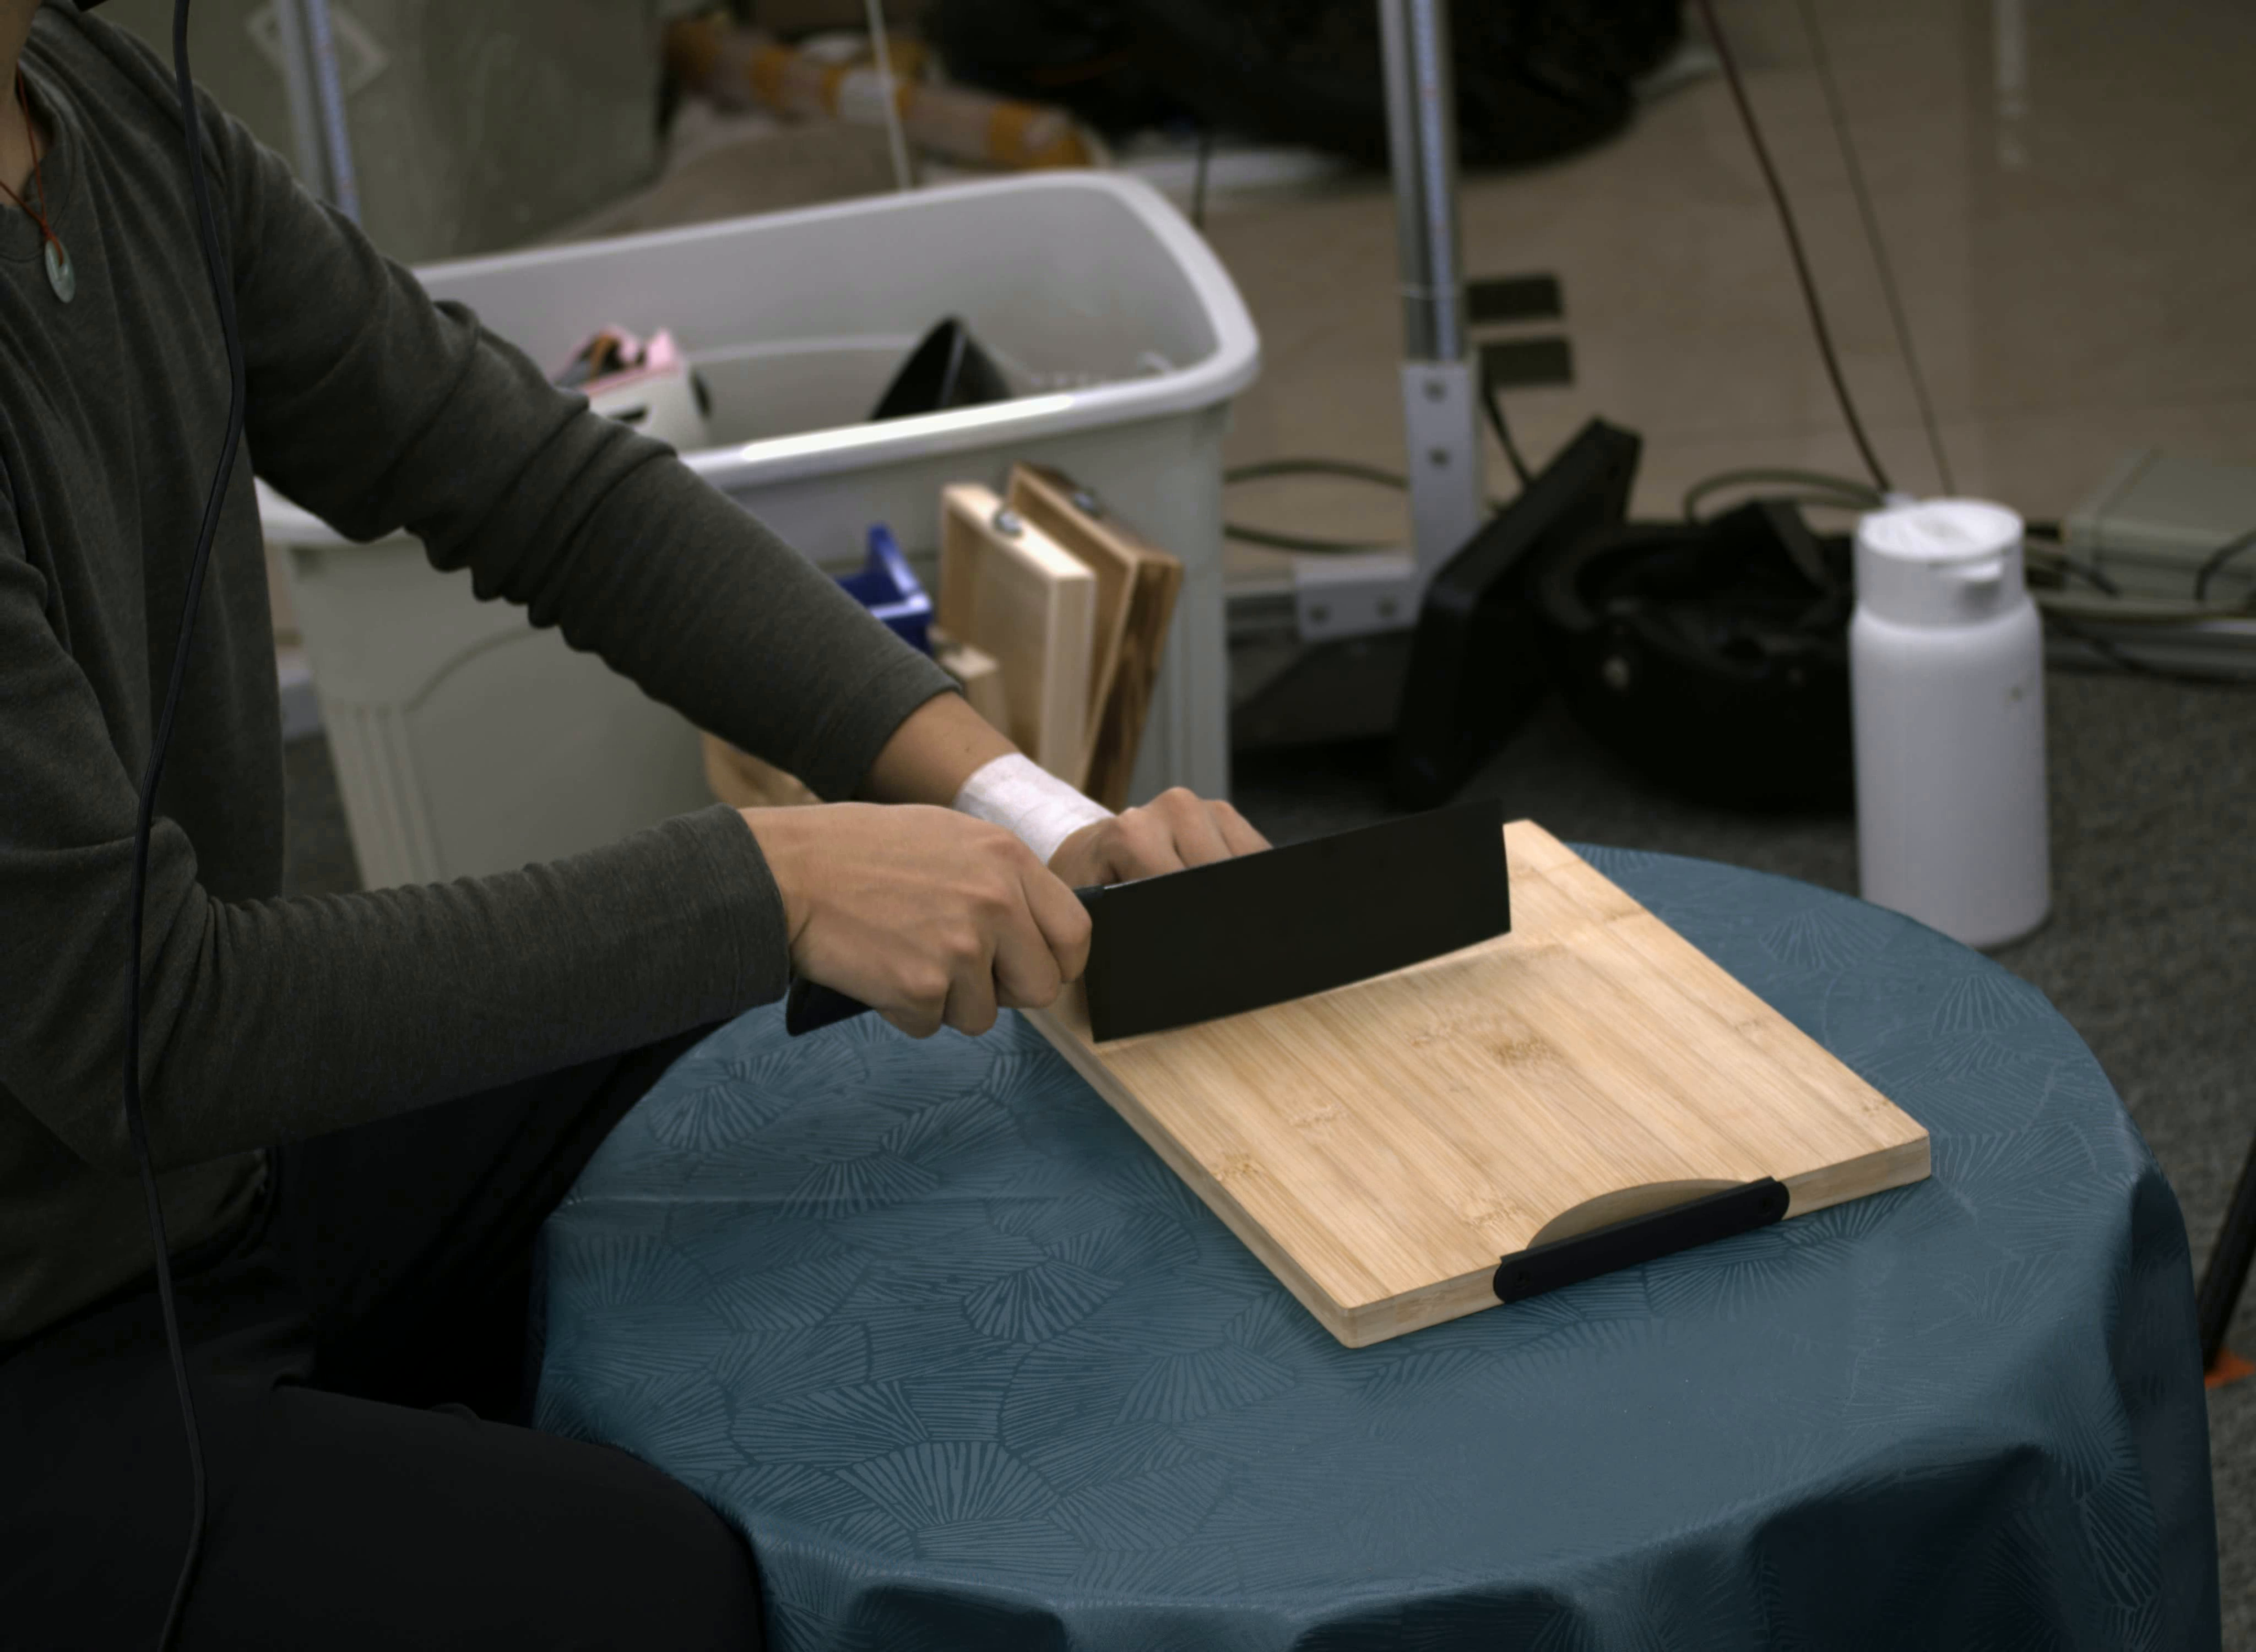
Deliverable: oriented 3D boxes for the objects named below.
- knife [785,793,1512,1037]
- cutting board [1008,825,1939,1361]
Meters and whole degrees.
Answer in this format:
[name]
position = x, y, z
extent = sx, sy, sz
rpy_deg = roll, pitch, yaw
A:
[knife]
position = 0.011, 0.045, 2.212
extent = 0.301, 0.082, 0.020
rpy_deg = -9, 24, -18
[cutting board]
position = 0.125, 0.095, 2.197
extent = 0.250, 0.024, 0.344
rpy_deg = -16, 26, -18
